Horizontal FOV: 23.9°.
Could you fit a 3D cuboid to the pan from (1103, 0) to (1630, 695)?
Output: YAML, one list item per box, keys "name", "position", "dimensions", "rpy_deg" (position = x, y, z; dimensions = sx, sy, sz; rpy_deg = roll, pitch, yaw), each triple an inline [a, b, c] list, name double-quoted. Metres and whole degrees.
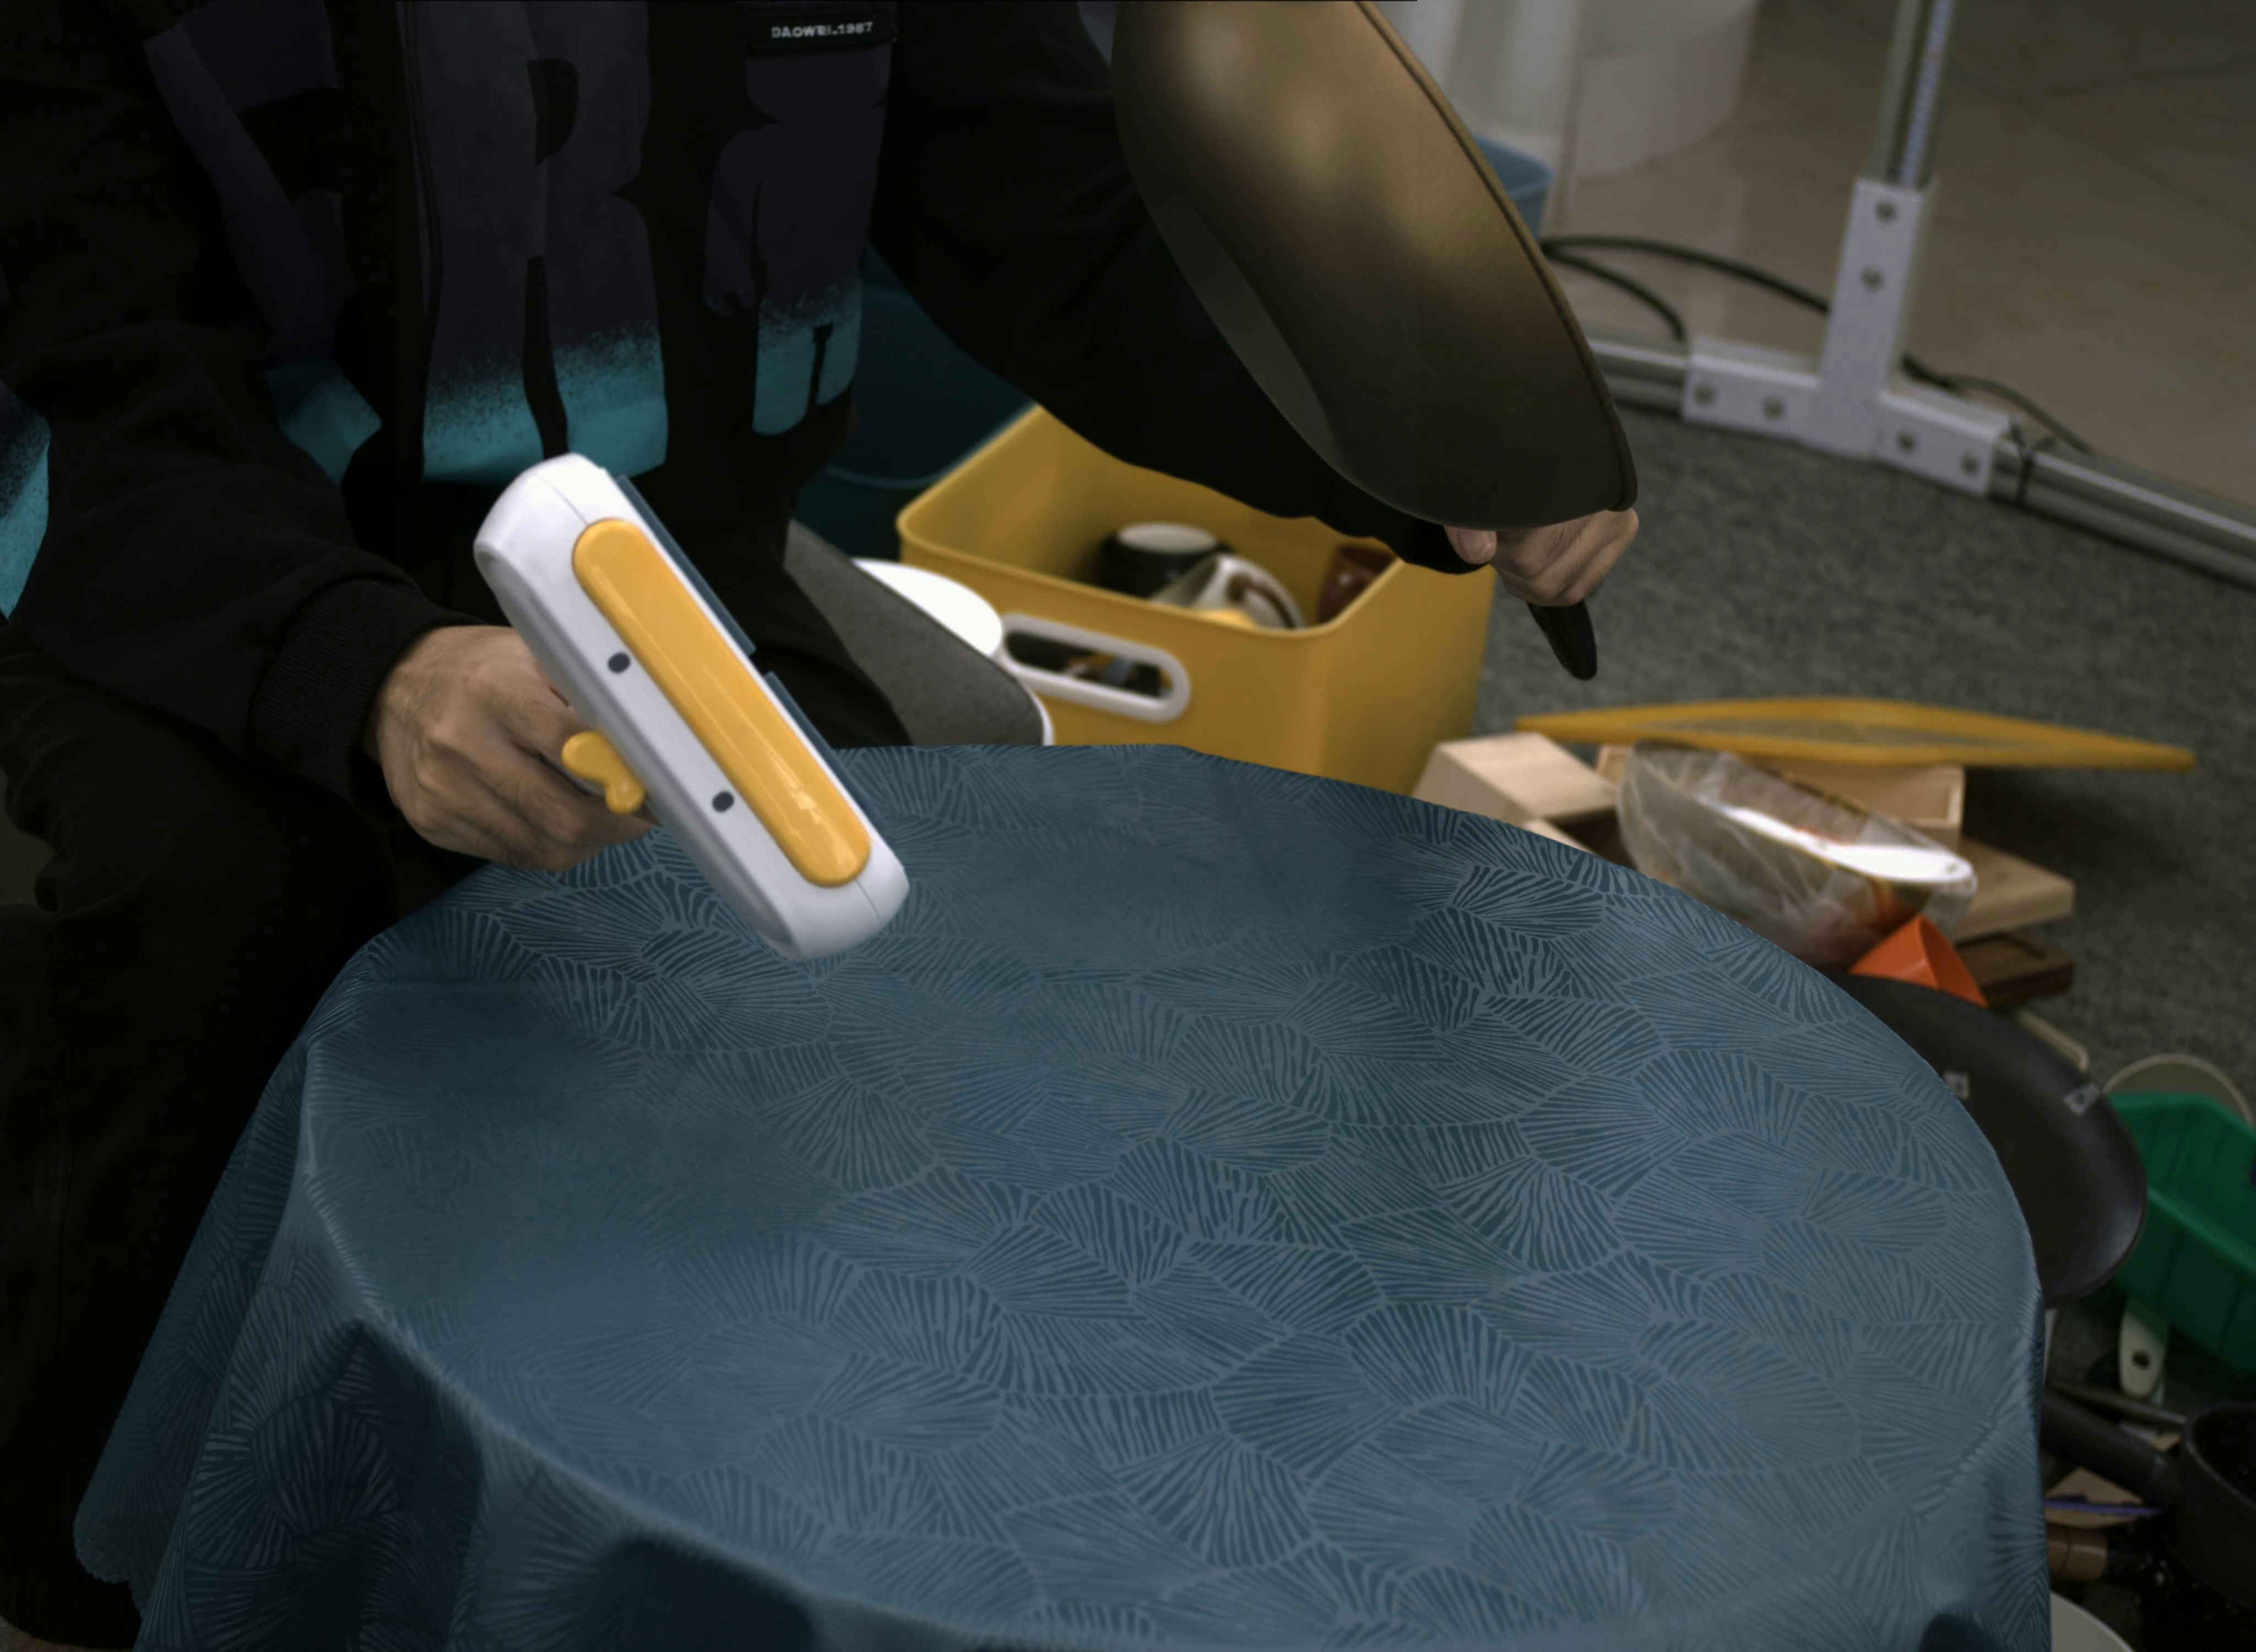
- name: "pan"
  position: [0.096, -0.165, 2.017]
  dimensions: [0.087, 0.459, 0.291]
  rpy_deg: [-34, 55, -4]

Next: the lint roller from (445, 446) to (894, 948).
- name: "lint roller"
  position: [-0.177, -0.028, 1.819]
  dimensions: [0.074, 0.192, 0.193]
  rpy_deg: [-46, 9, -22]
